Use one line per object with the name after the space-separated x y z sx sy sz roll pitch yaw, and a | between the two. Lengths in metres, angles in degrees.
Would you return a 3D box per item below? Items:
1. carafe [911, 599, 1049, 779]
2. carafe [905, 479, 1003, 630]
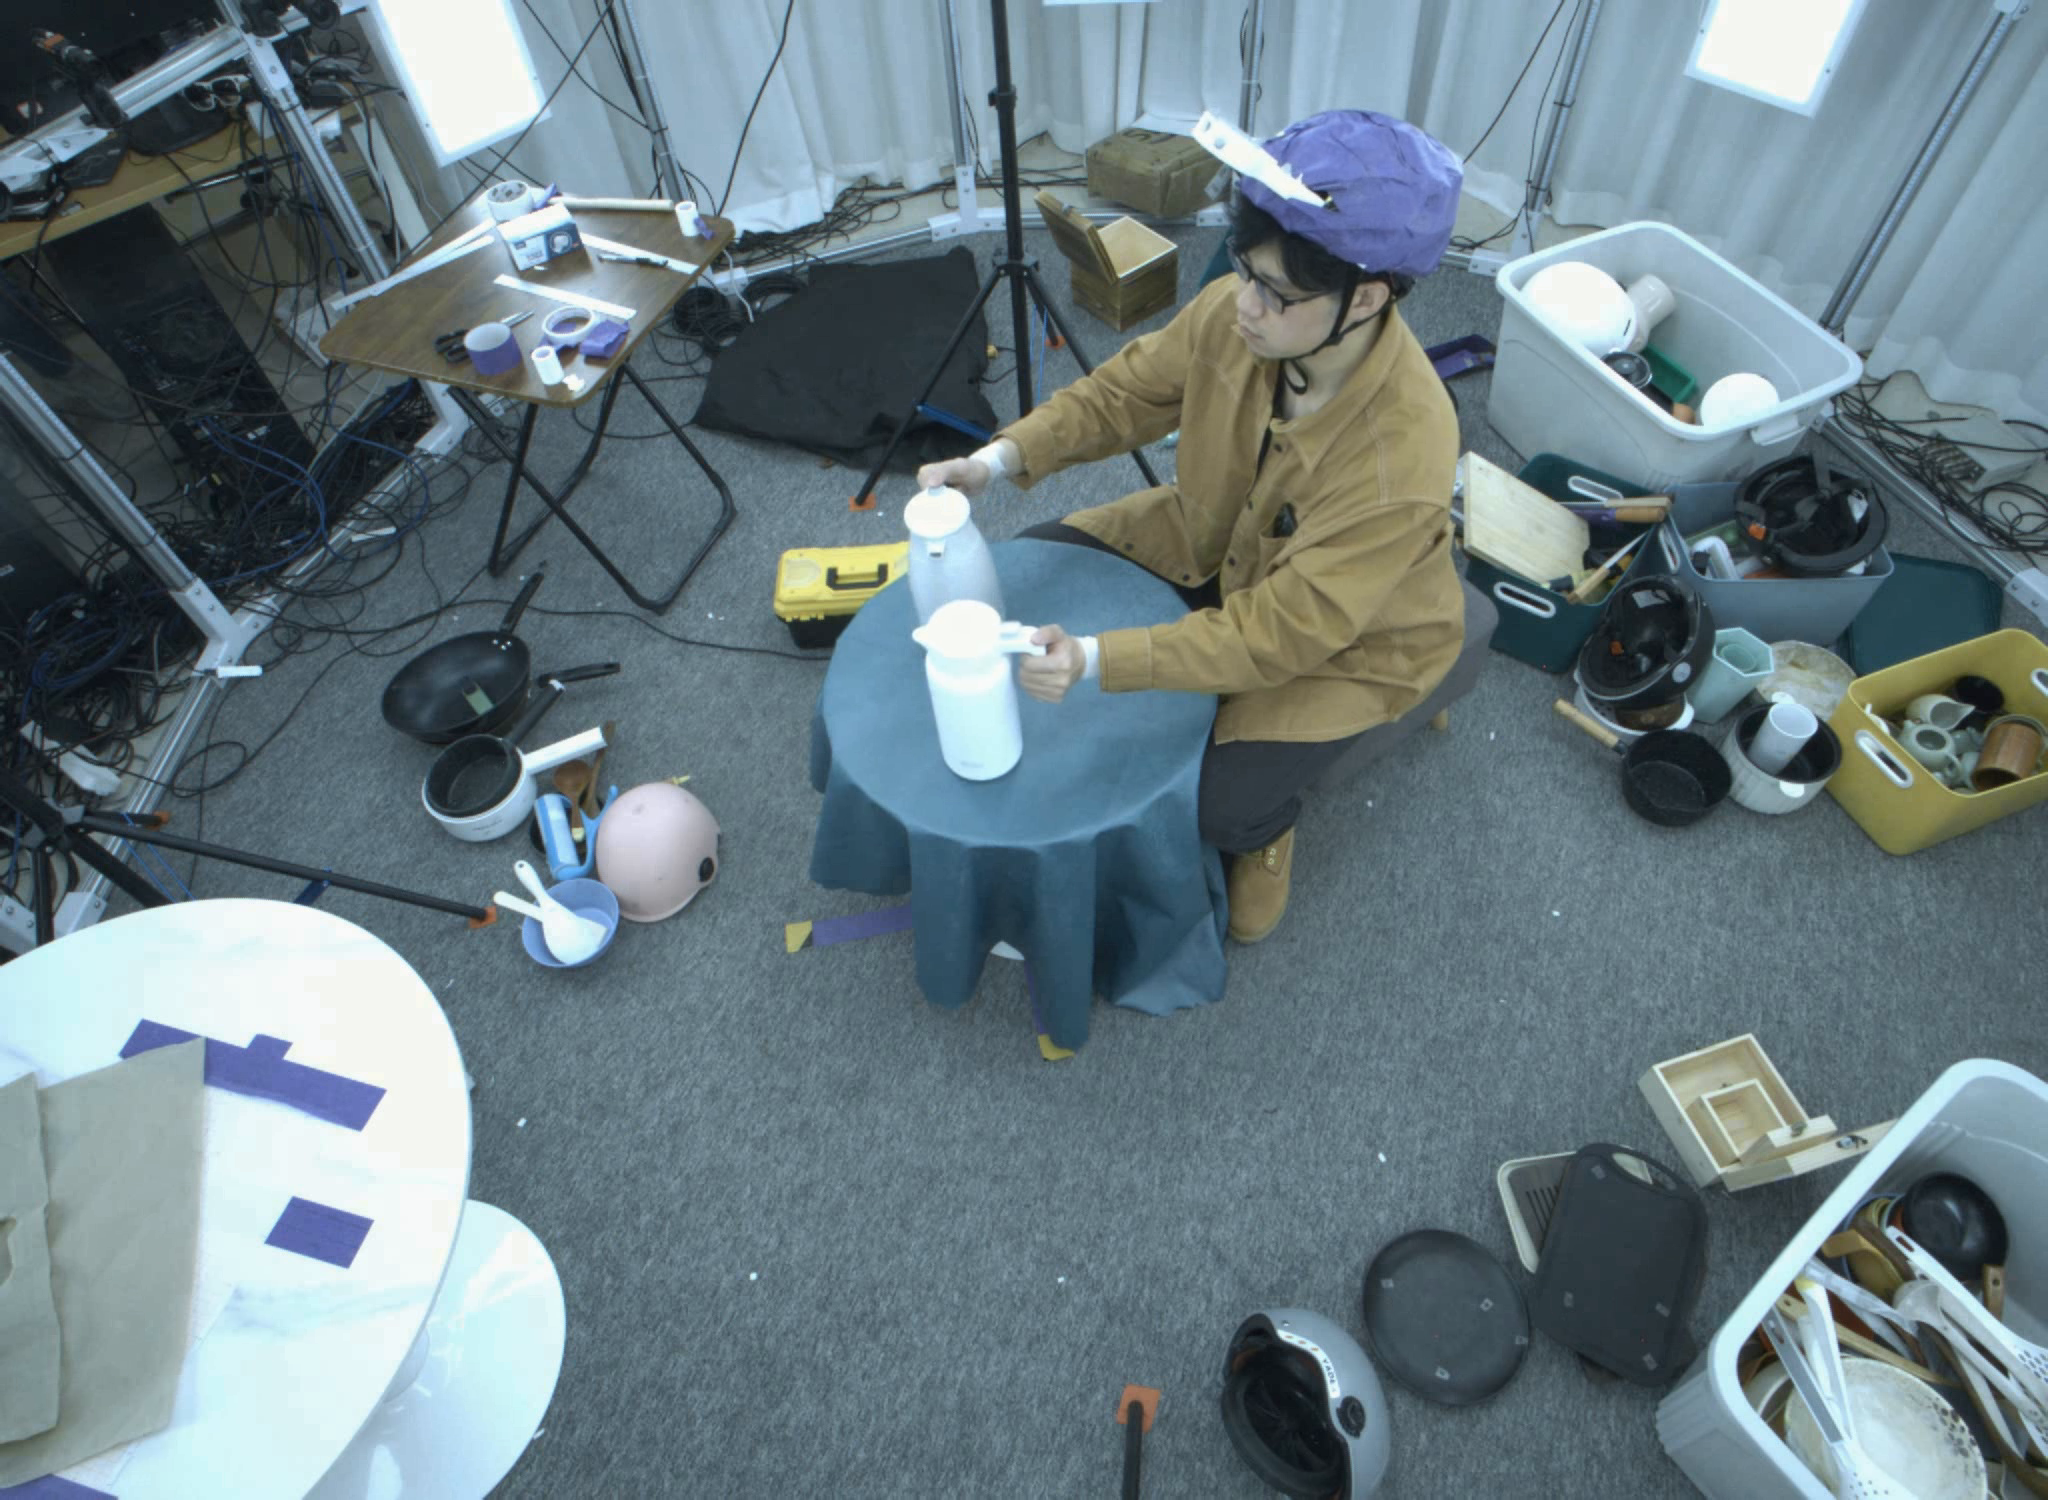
-0.052 -0.081 1.677 0.173 0.272 0.122 -3 52 2 | carafe
-0.110 -0.281 1.782 0.132 0.251 0.166 -2 58 5 | carafe
